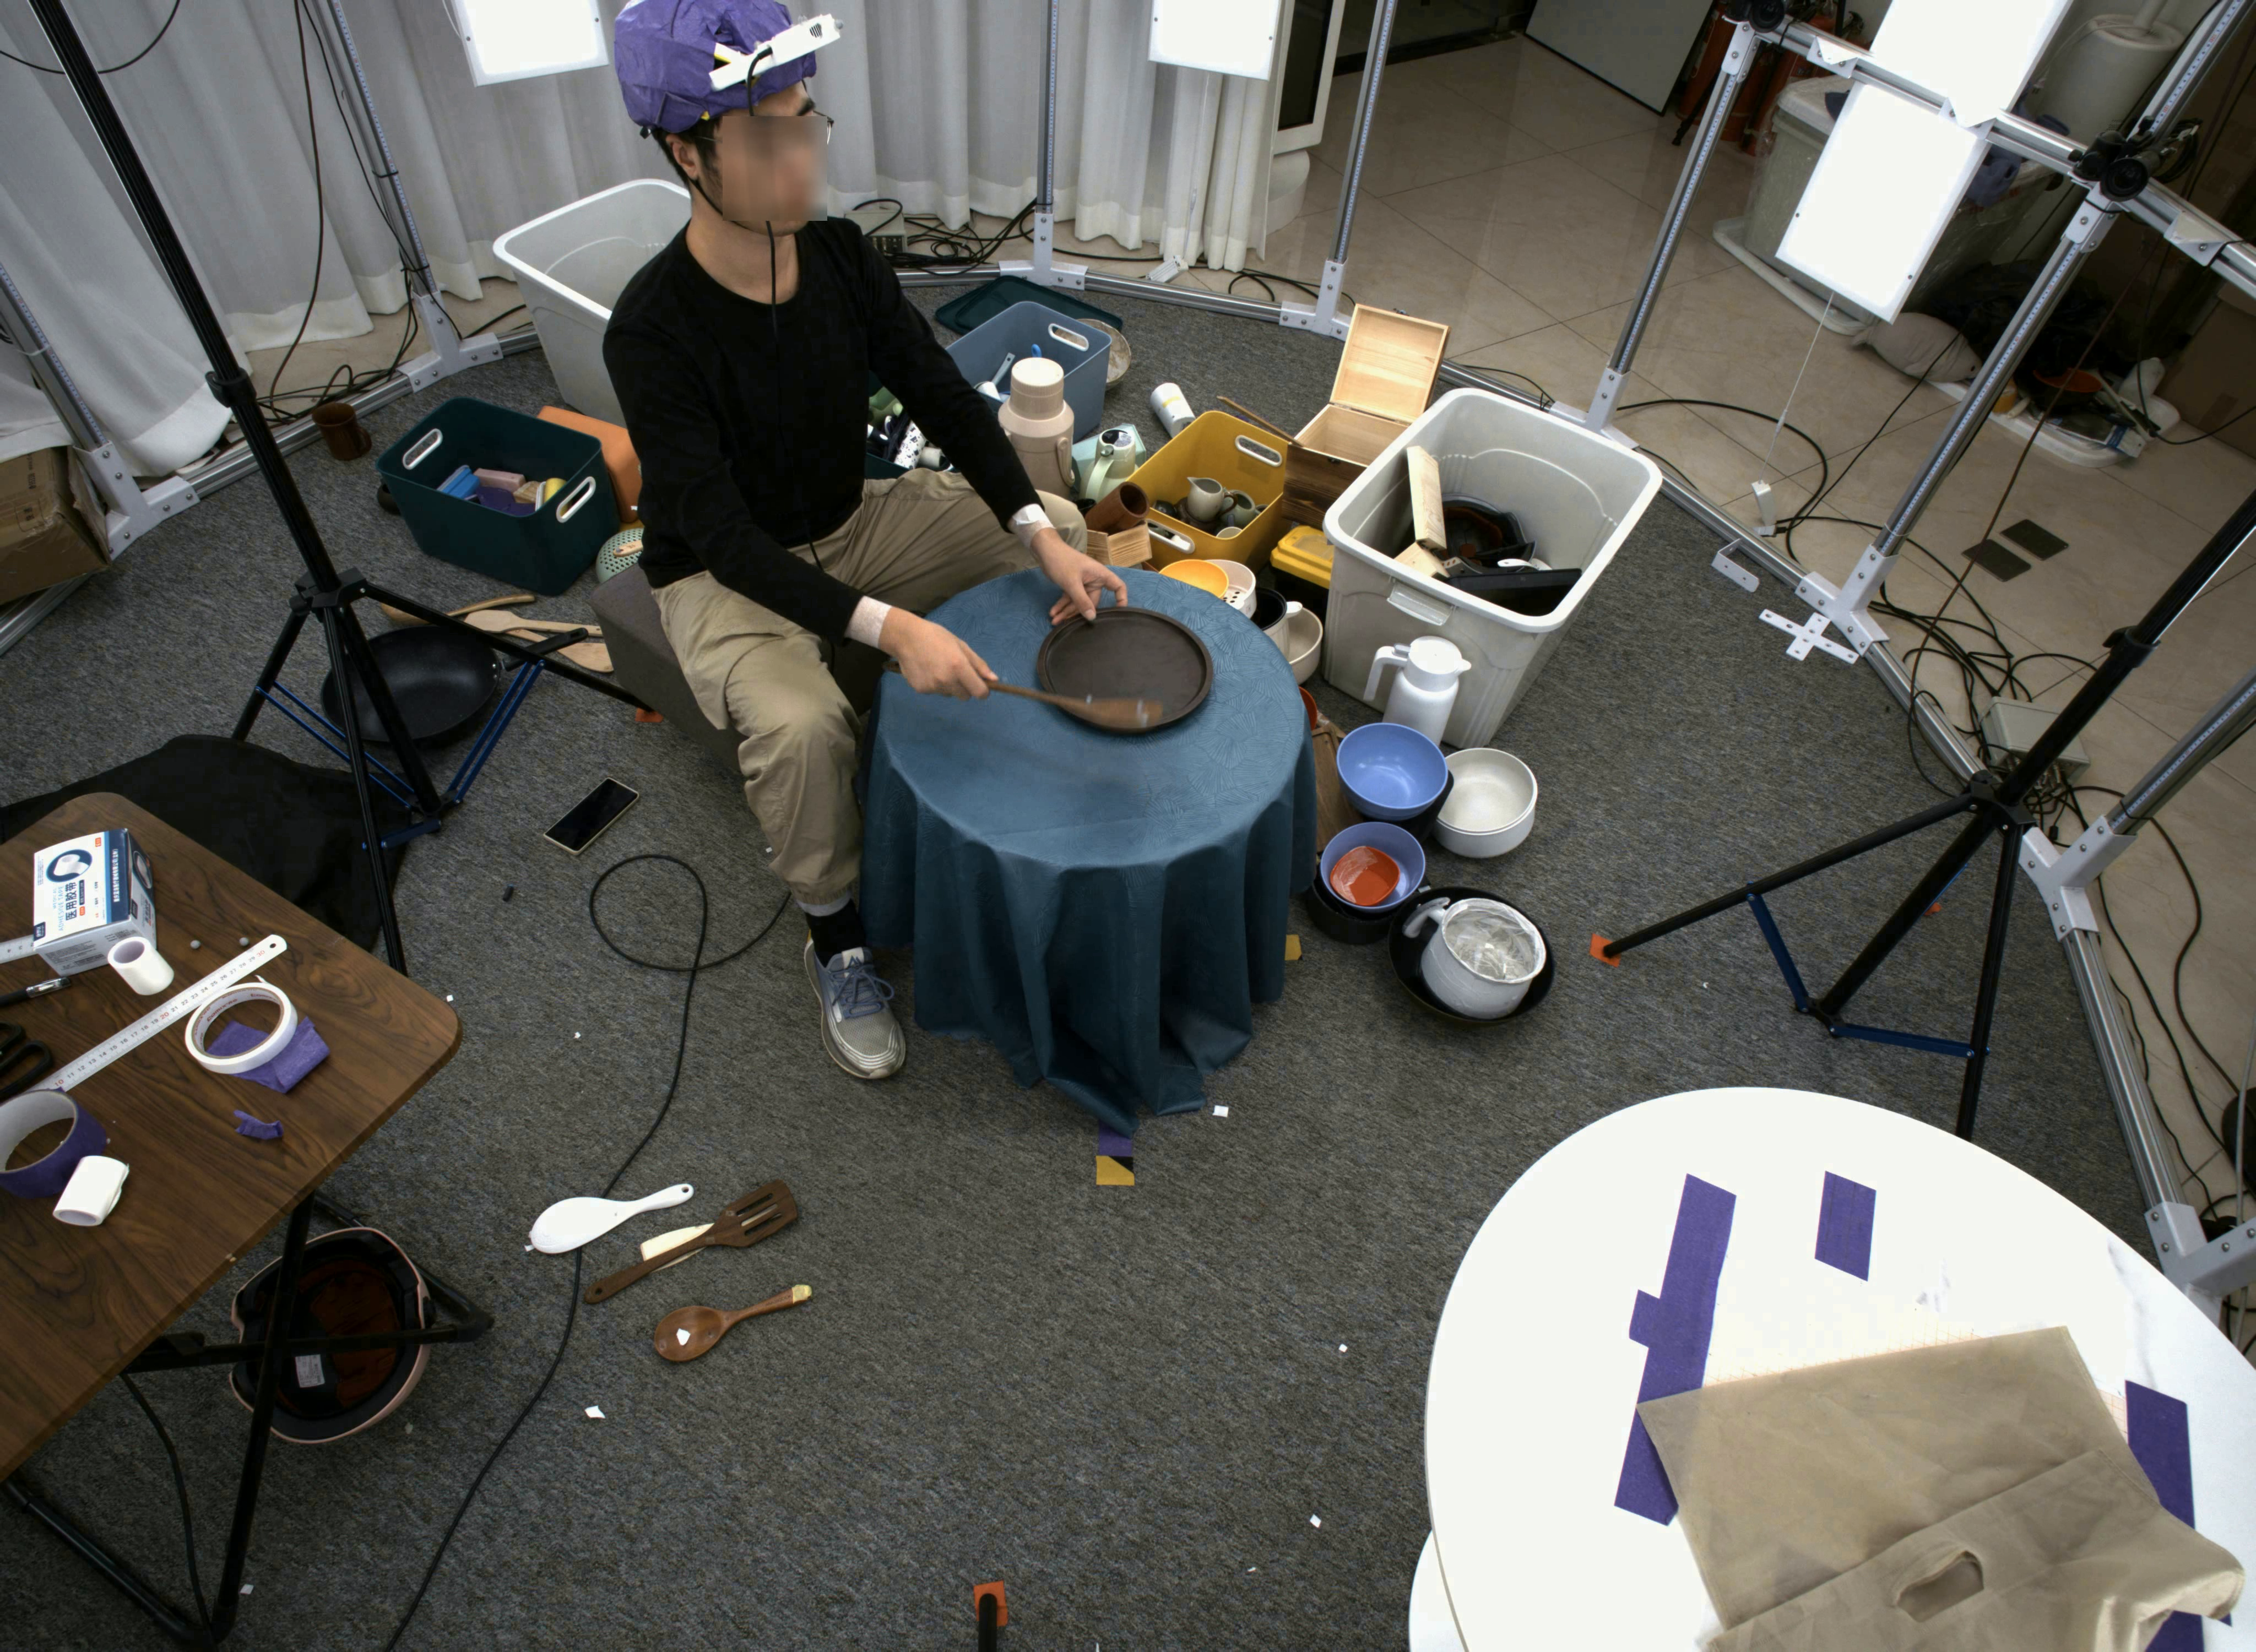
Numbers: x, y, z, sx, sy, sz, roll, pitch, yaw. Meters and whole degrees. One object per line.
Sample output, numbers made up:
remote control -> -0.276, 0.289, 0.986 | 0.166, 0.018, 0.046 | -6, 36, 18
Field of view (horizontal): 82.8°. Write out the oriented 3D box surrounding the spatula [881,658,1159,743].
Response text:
spatula -> -0.146, -0.169, 1.682 | 0.387, 0.015, 0.097 | 16, 31, 12

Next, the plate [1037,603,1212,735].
plate -> -0.005, -0.225, 1.851 | 0.254, 0.028, 0.261 | 2, 51, -3
